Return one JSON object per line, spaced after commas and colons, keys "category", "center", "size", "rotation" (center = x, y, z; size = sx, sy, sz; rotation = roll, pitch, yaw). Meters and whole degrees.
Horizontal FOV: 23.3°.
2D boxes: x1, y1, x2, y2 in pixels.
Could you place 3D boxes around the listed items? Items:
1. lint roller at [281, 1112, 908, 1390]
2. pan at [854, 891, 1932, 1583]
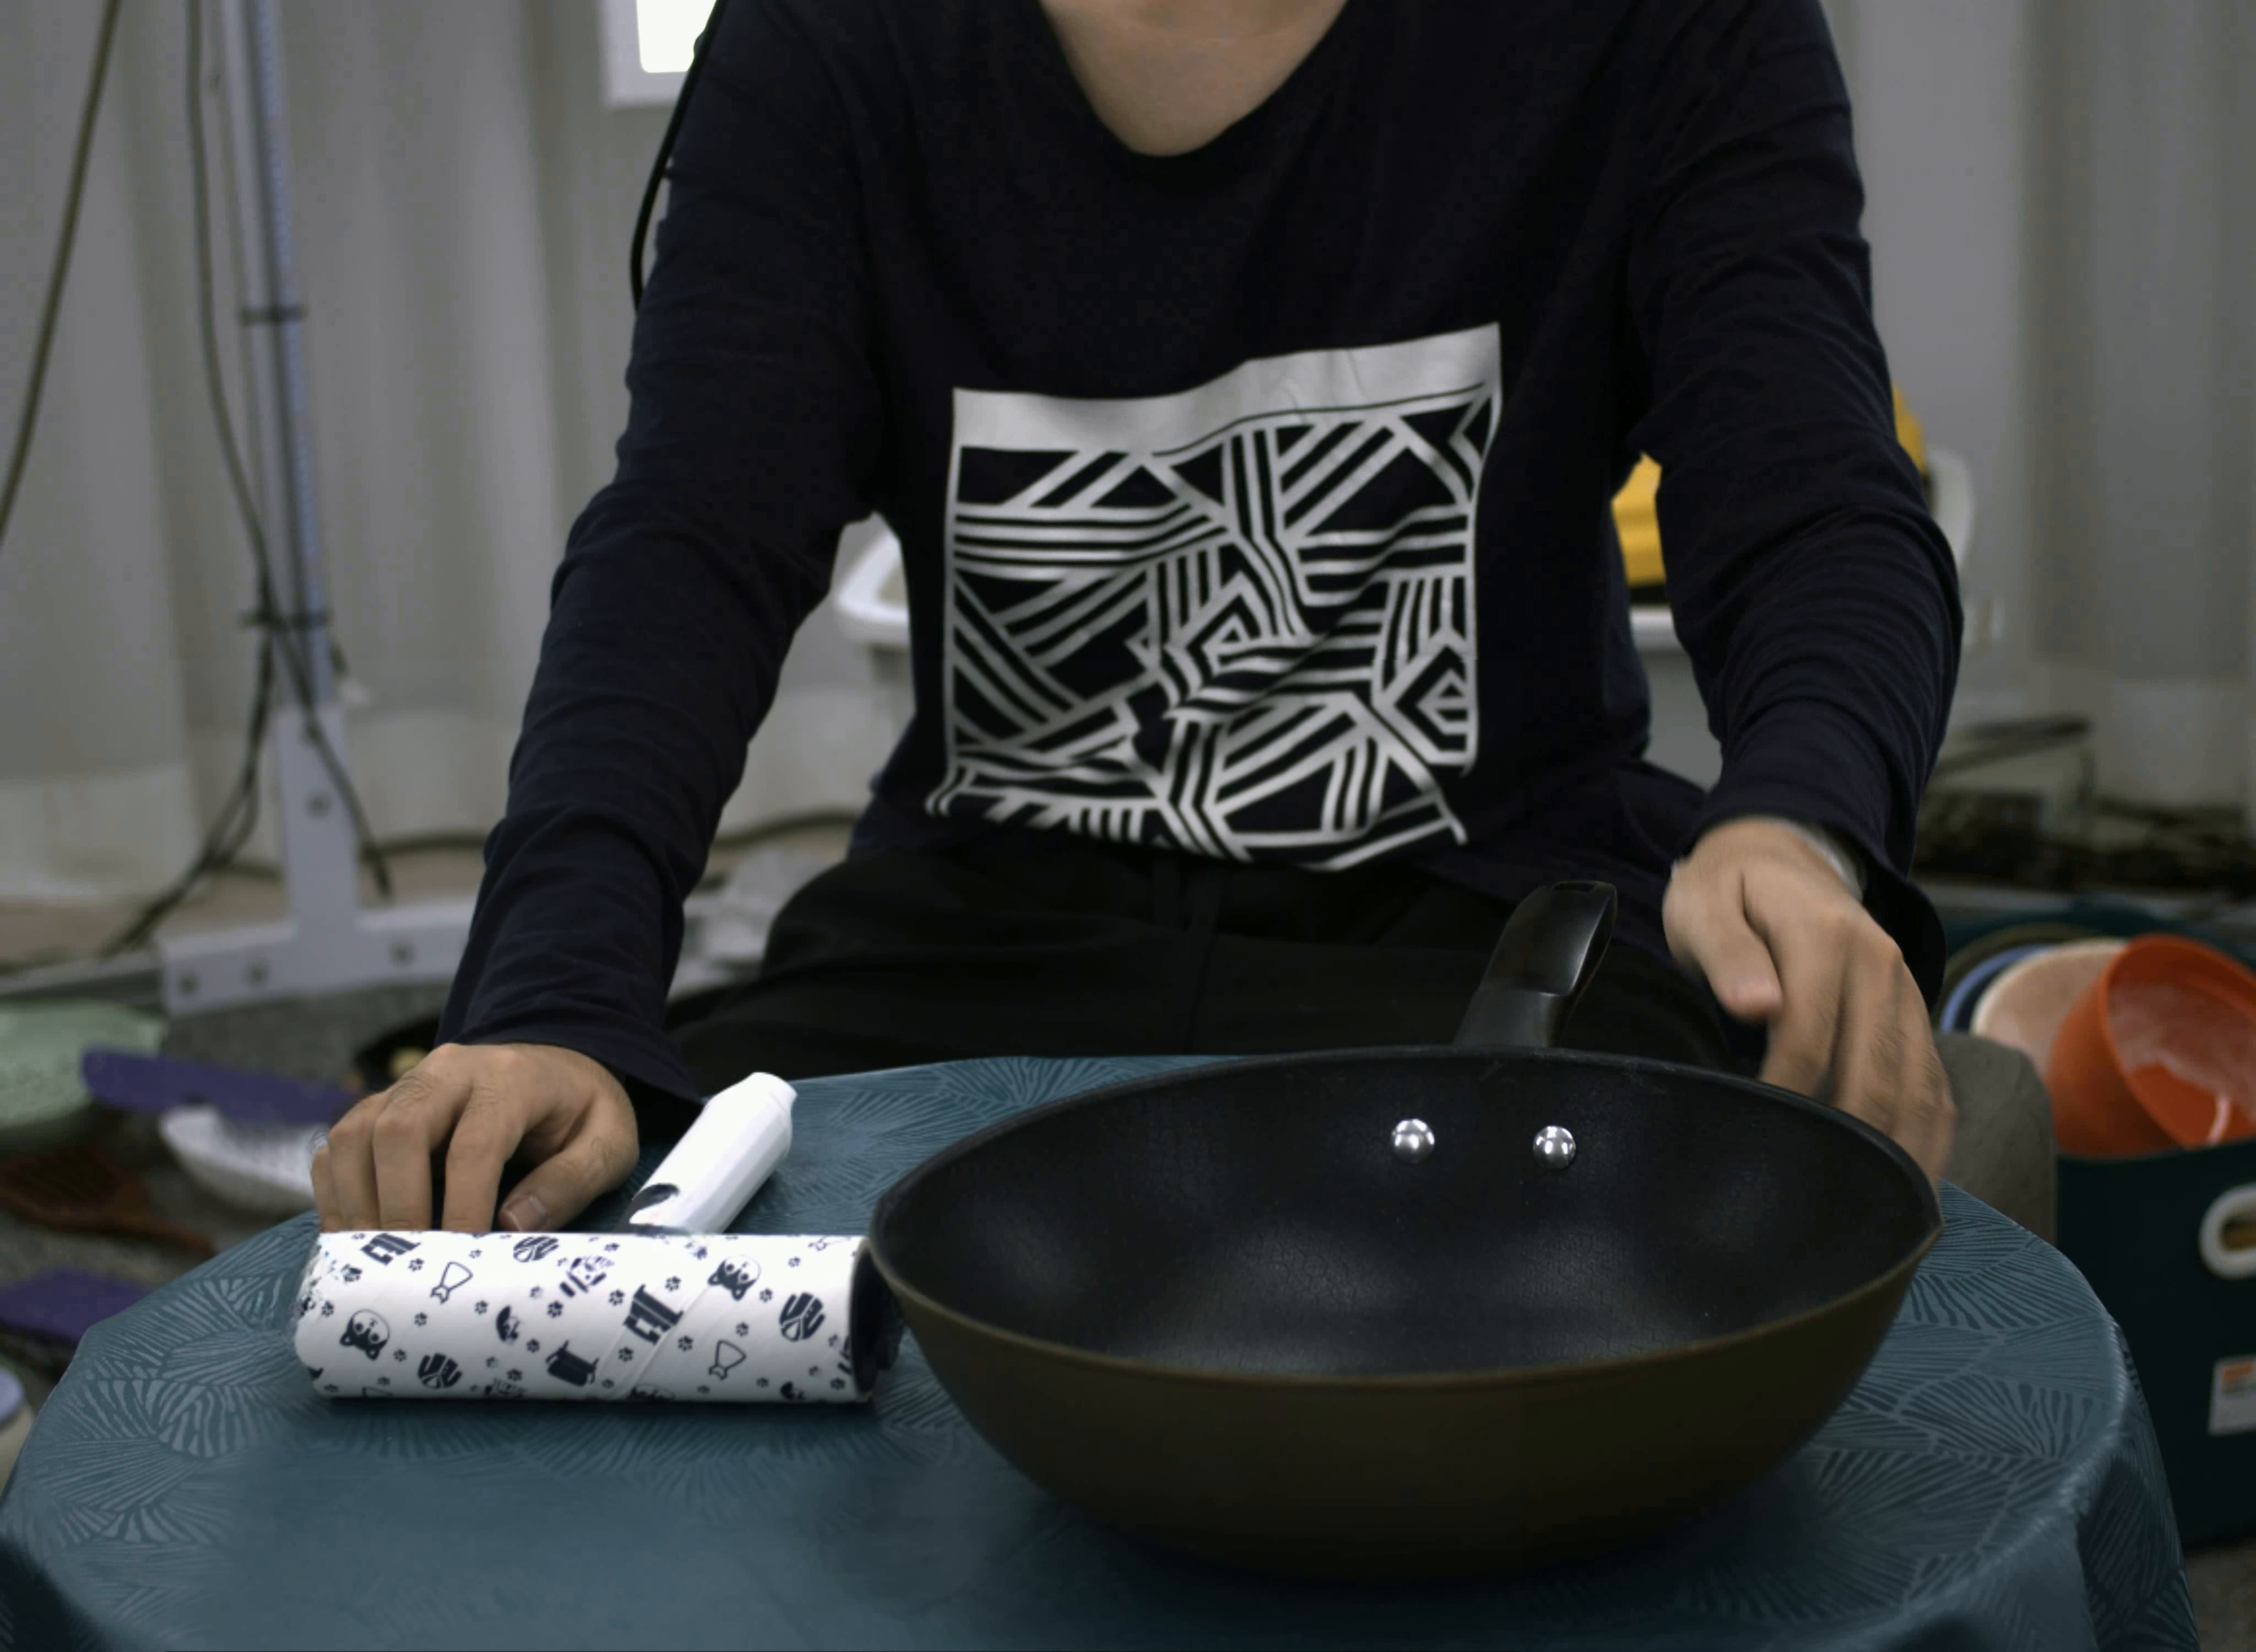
{"category": "lint roller", "center": [-0.138, 0.118, 1.656], "size": [0.176, 0.050, 0.248], "rotation": [-2, 11, 9]}
{"category": "pan", "center": [0.093, 0.113, 1.544], "size": [0.288, 0.086, 0.465], "rotation": [1, 14, 14]}
